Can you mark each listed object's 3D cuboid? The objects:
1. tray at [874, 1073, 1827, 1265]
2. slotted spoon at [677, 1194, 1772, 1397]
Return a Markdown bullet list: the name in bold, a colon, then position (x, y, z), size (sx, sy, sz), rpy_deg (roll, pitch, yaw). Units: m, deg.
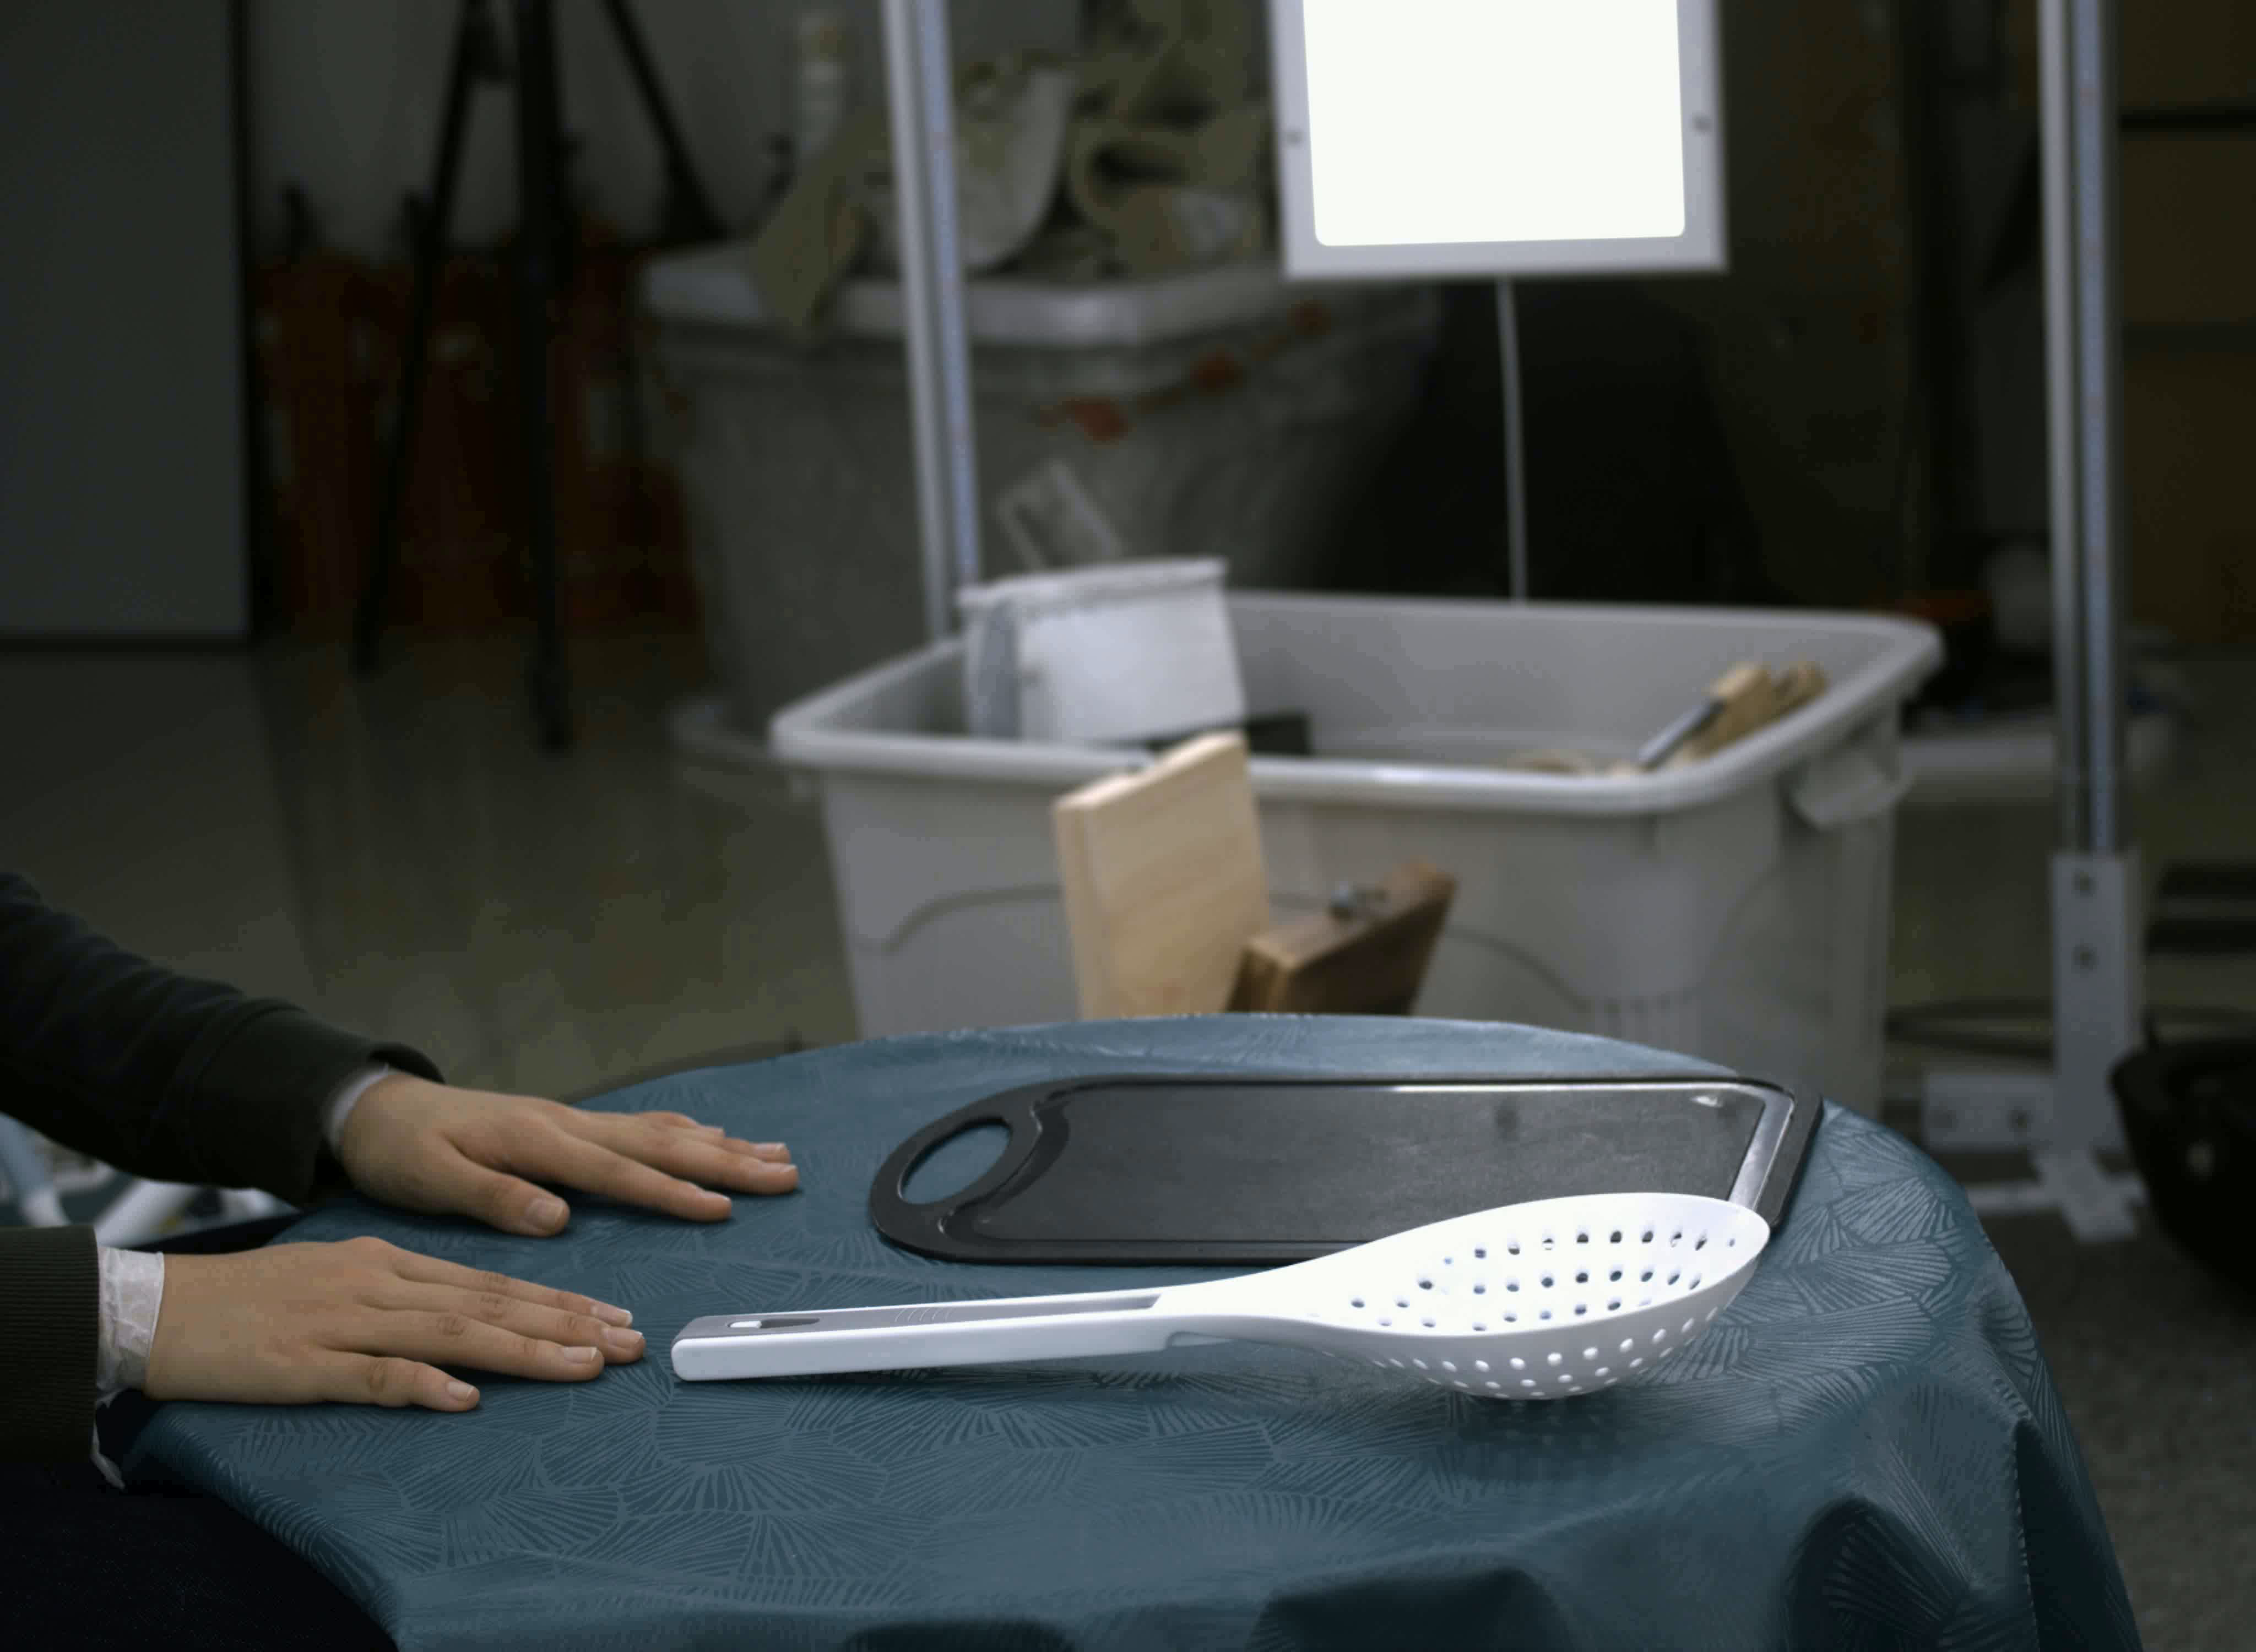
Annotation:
- **tray**: position (0.074, 0.115, 1.902), size (0.329, 0.010, 0.208), rpy_deg (-1, 14, 16)
- **slotted spoon**: position (0.026, 0.149, 1.698), size (0.353, 0.046, 0.134), rpy_deg (-2, 12, 17)
